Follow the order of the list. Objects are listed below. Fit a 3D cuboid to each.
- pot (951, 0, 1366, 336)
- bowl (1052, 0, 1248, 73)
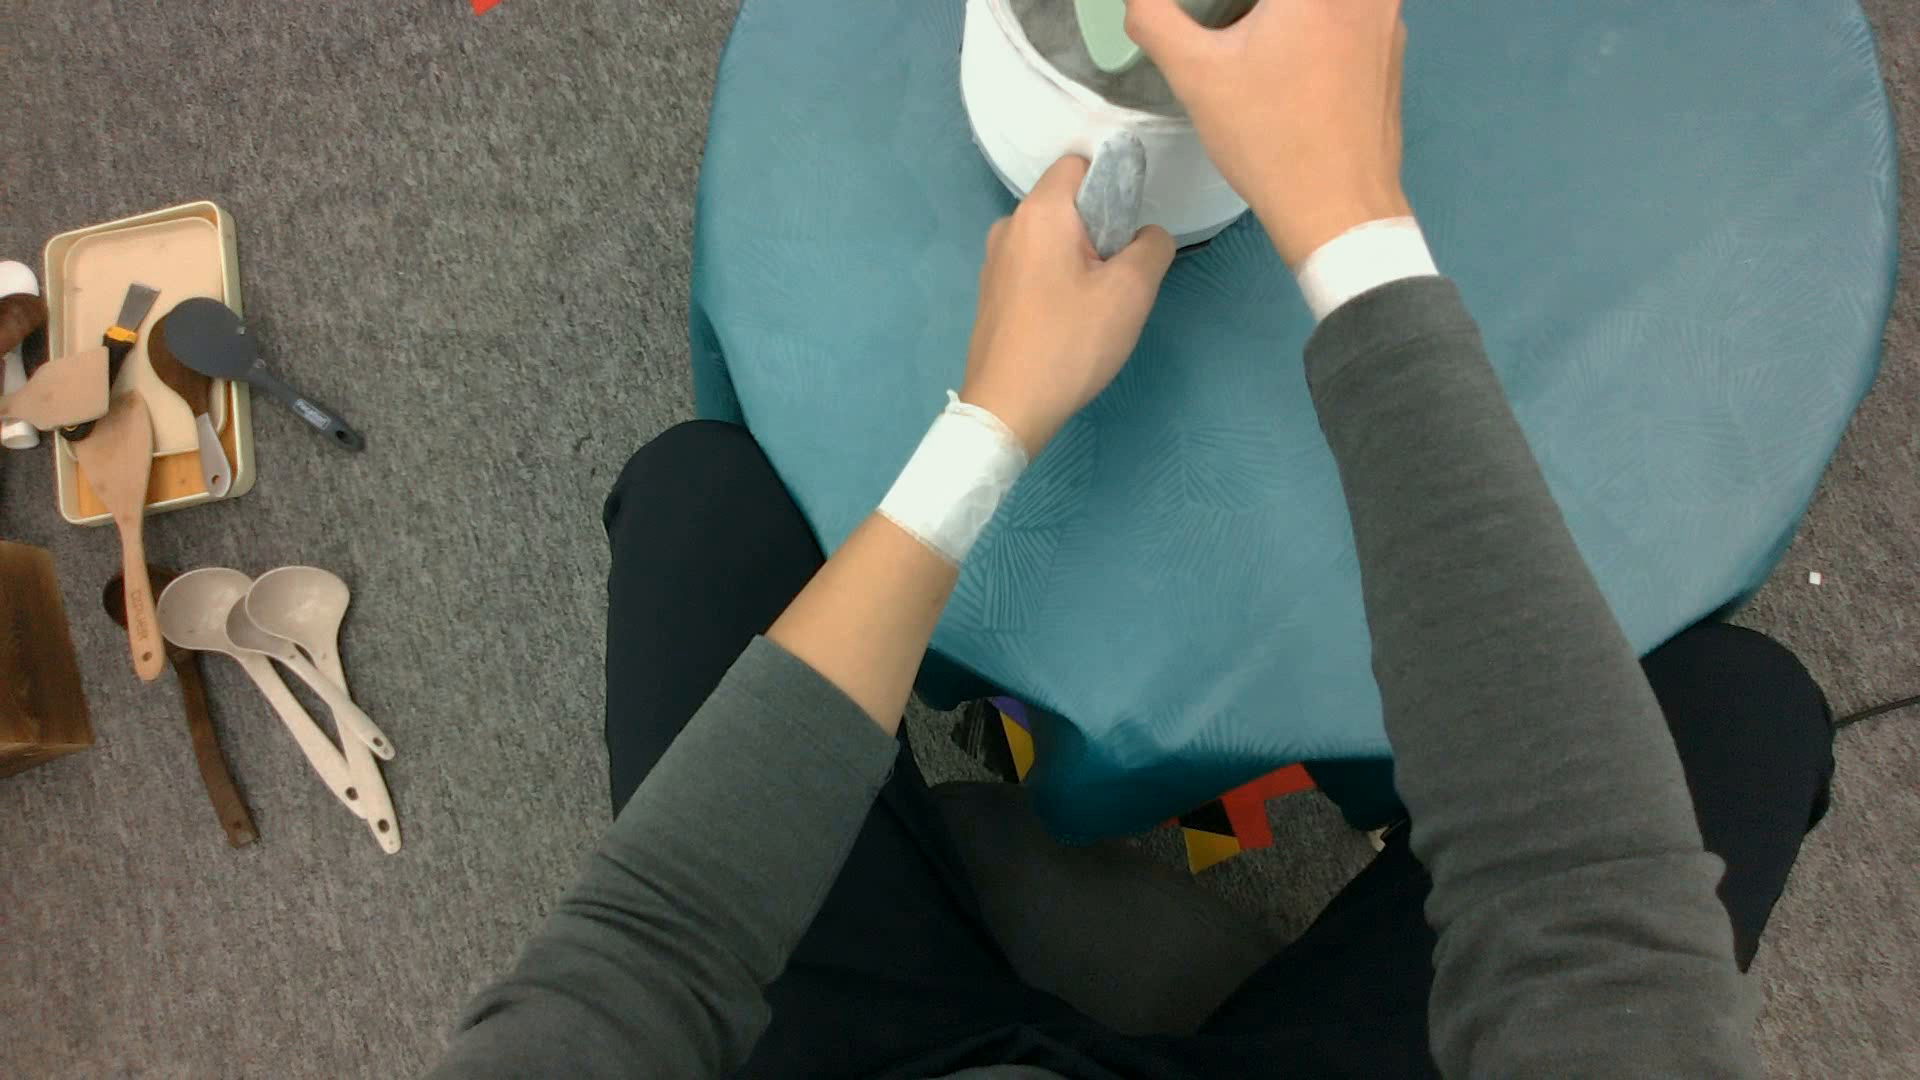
[{"bbox_3d":[0.079,-0.215,0.634,0.179,0.136,0.234,14,76,1],"label":"pot"},{"bbox_3d":[0.092,-0.266,0.567,0.059,0.151,0.151,4,80,-22],"label":"bowl"}]
